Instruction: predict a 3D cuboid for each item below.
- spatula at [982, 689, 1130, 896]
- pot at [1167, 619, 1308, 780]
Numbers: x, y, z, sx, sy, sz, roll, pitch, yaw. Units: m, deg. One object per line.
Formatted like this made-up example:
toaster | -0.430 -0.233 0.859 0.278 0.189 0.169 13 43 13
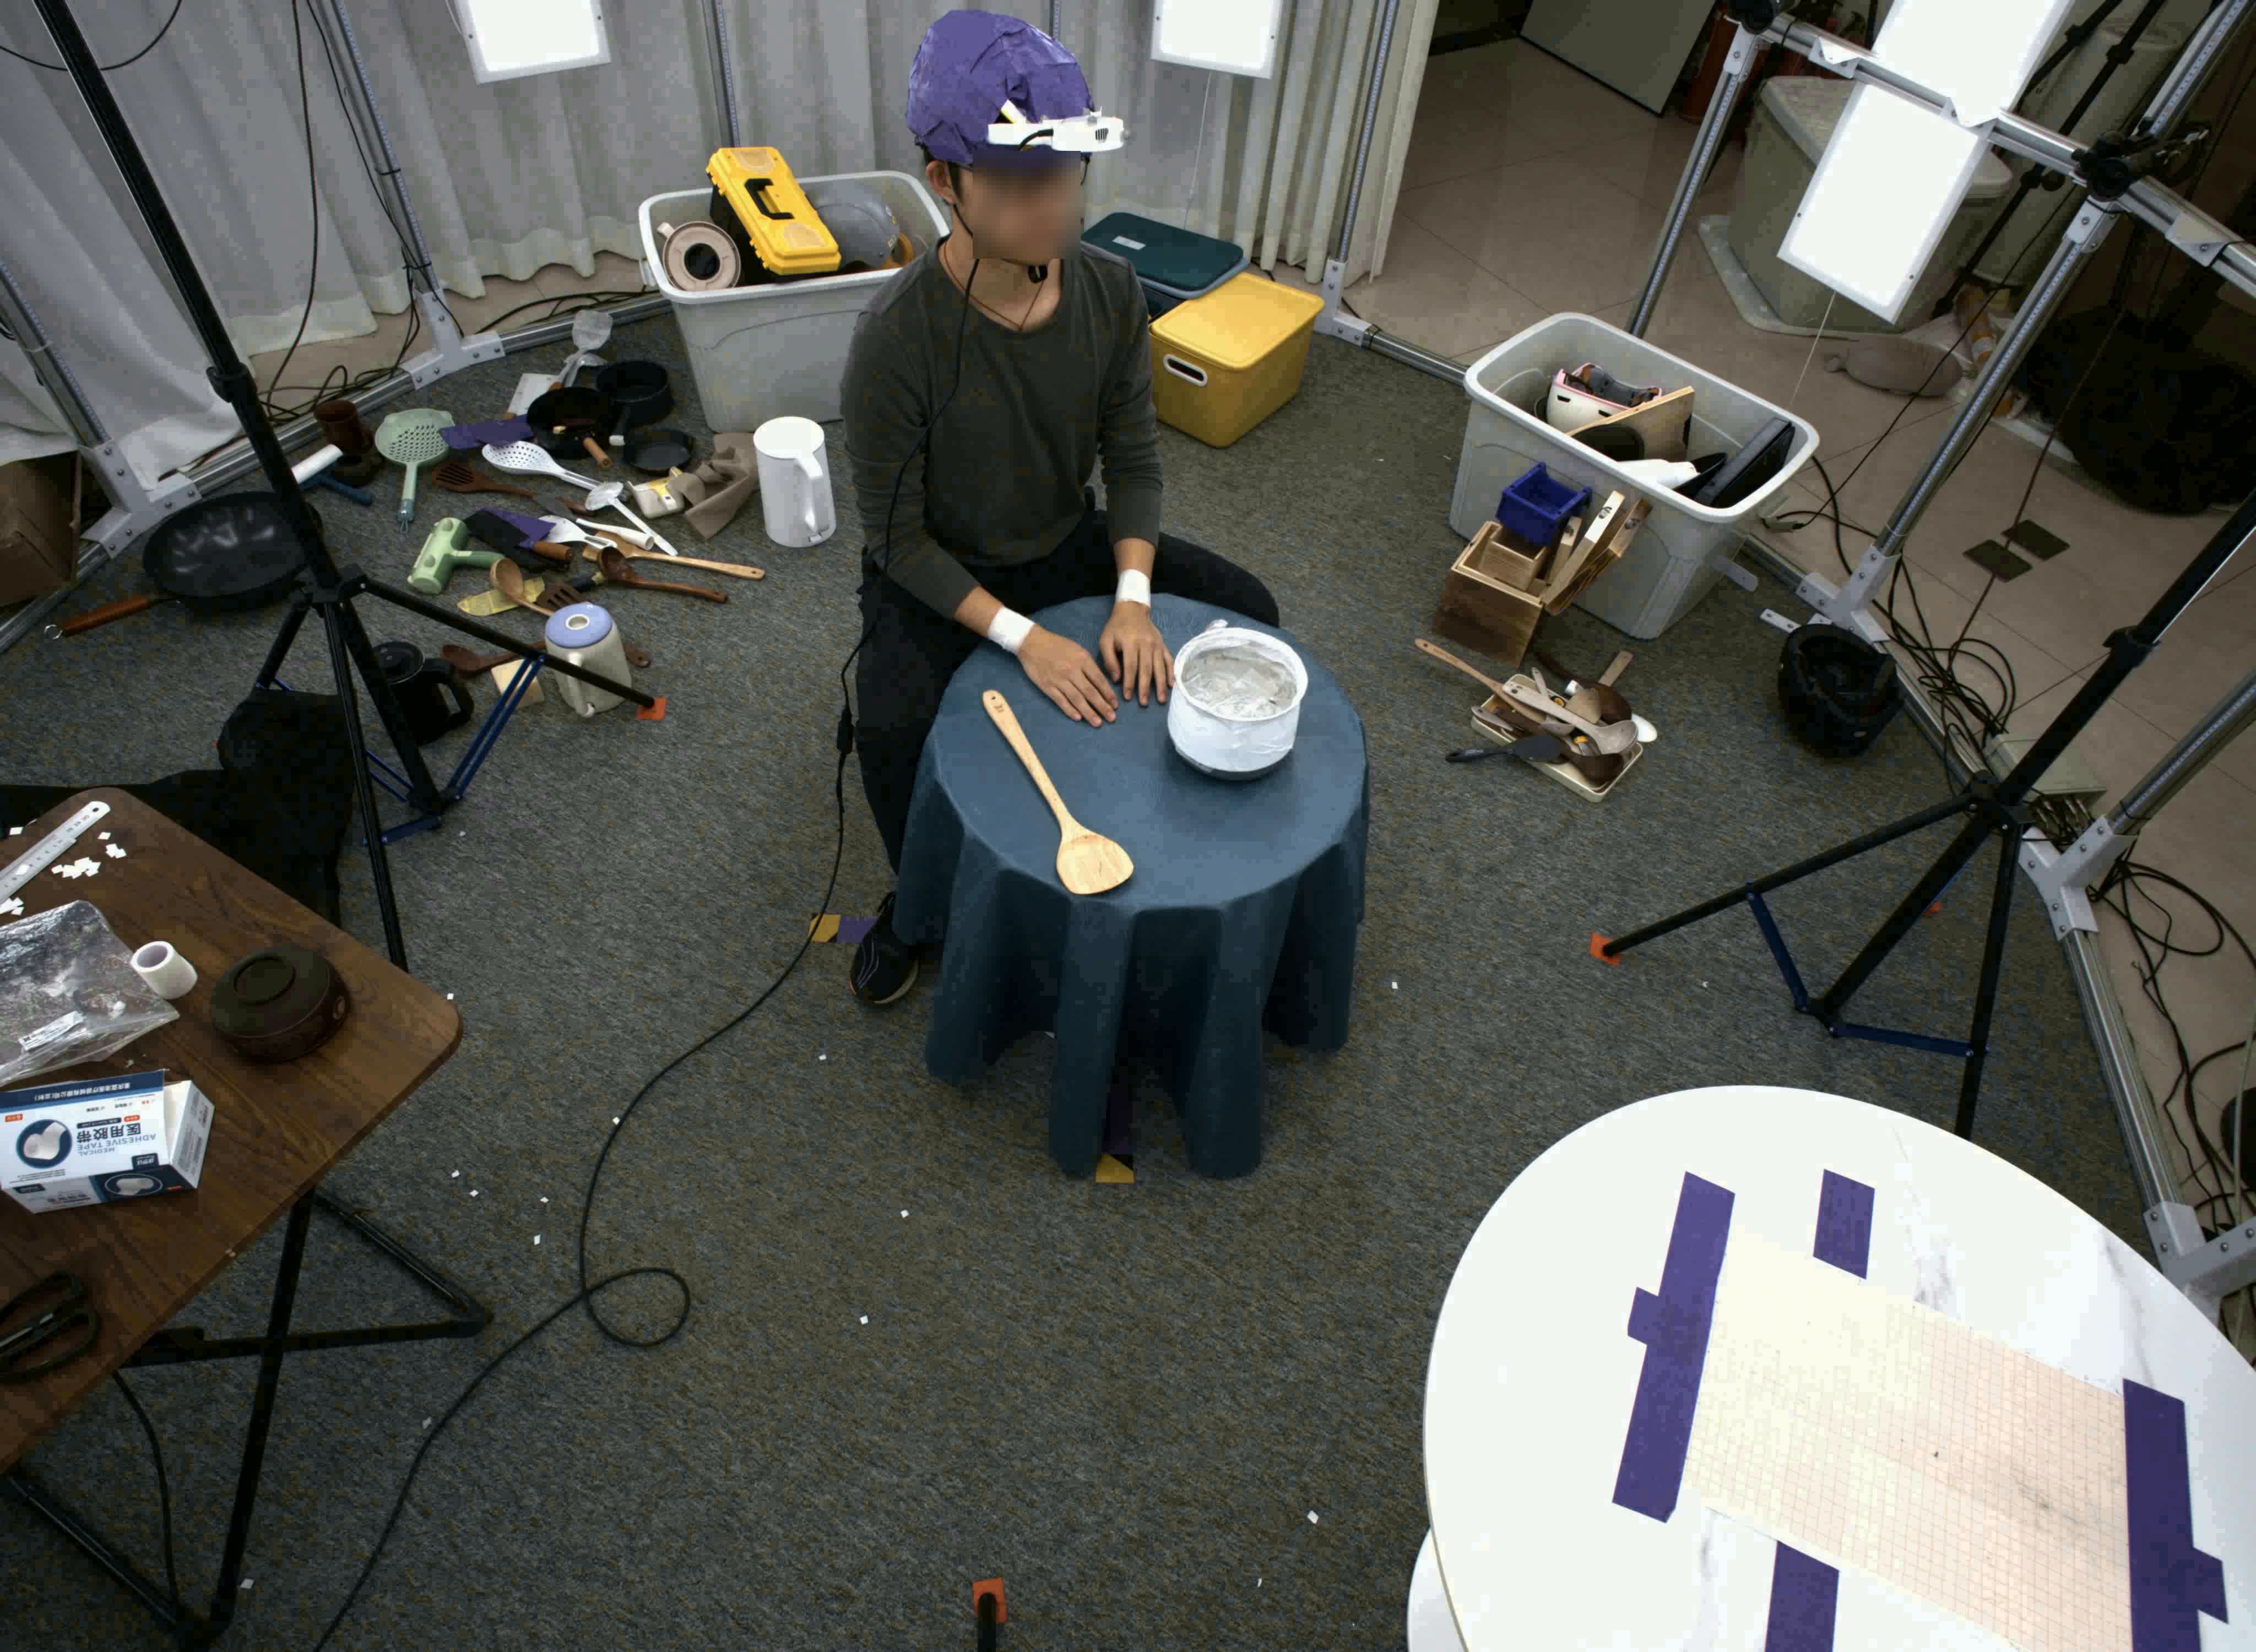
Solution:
spatula | -0.116 -0.054 1.695 0.096 0.018 0.399 -17 53 -20
pot | 0.138 -0.181 1.746 0.178 0.133 0.239 -8 50 -11
